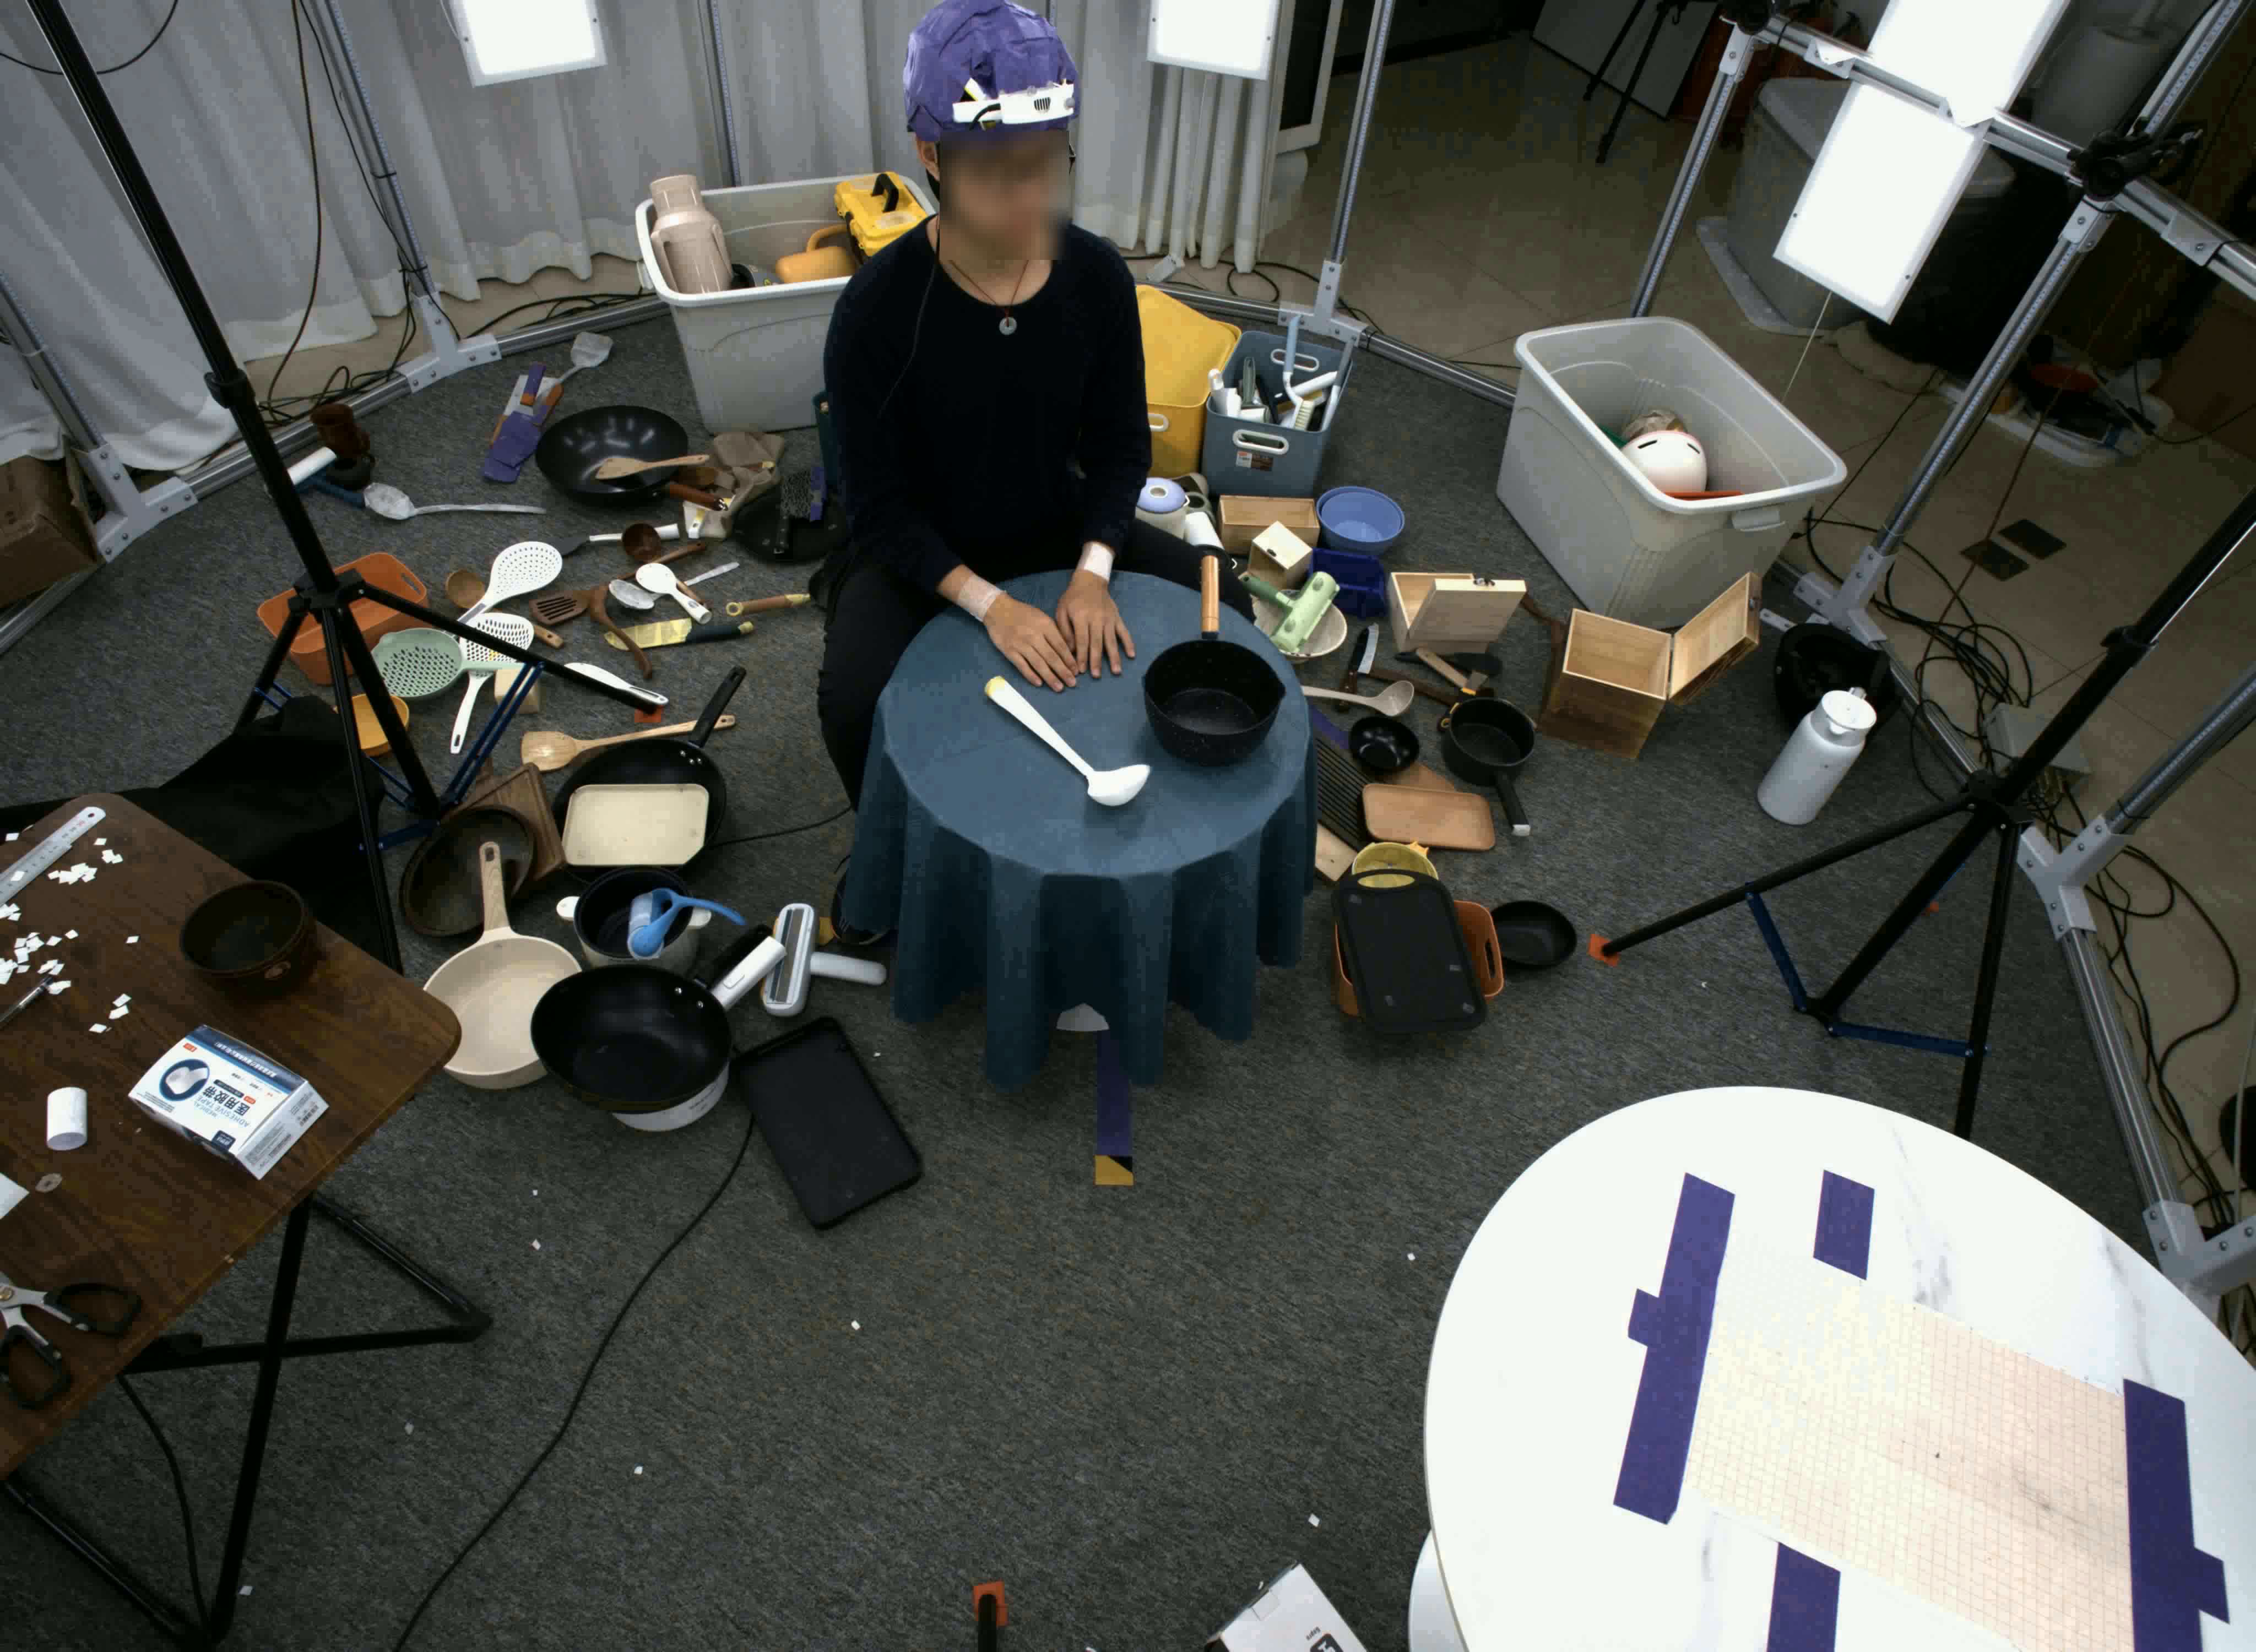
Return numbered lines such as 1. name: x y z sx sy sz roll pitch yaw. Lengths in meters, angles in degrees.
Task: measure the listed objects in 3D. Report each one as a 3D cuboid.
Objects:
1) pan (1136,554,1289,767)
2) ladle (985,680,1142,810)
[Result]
1. pan: 0.113 -0.233 1.809 0.207 0.105 0.351 1 50 -2
2. ladle: -0.096 -0.118 1.723 0.091 0.068 0.298 -34 58 -21
